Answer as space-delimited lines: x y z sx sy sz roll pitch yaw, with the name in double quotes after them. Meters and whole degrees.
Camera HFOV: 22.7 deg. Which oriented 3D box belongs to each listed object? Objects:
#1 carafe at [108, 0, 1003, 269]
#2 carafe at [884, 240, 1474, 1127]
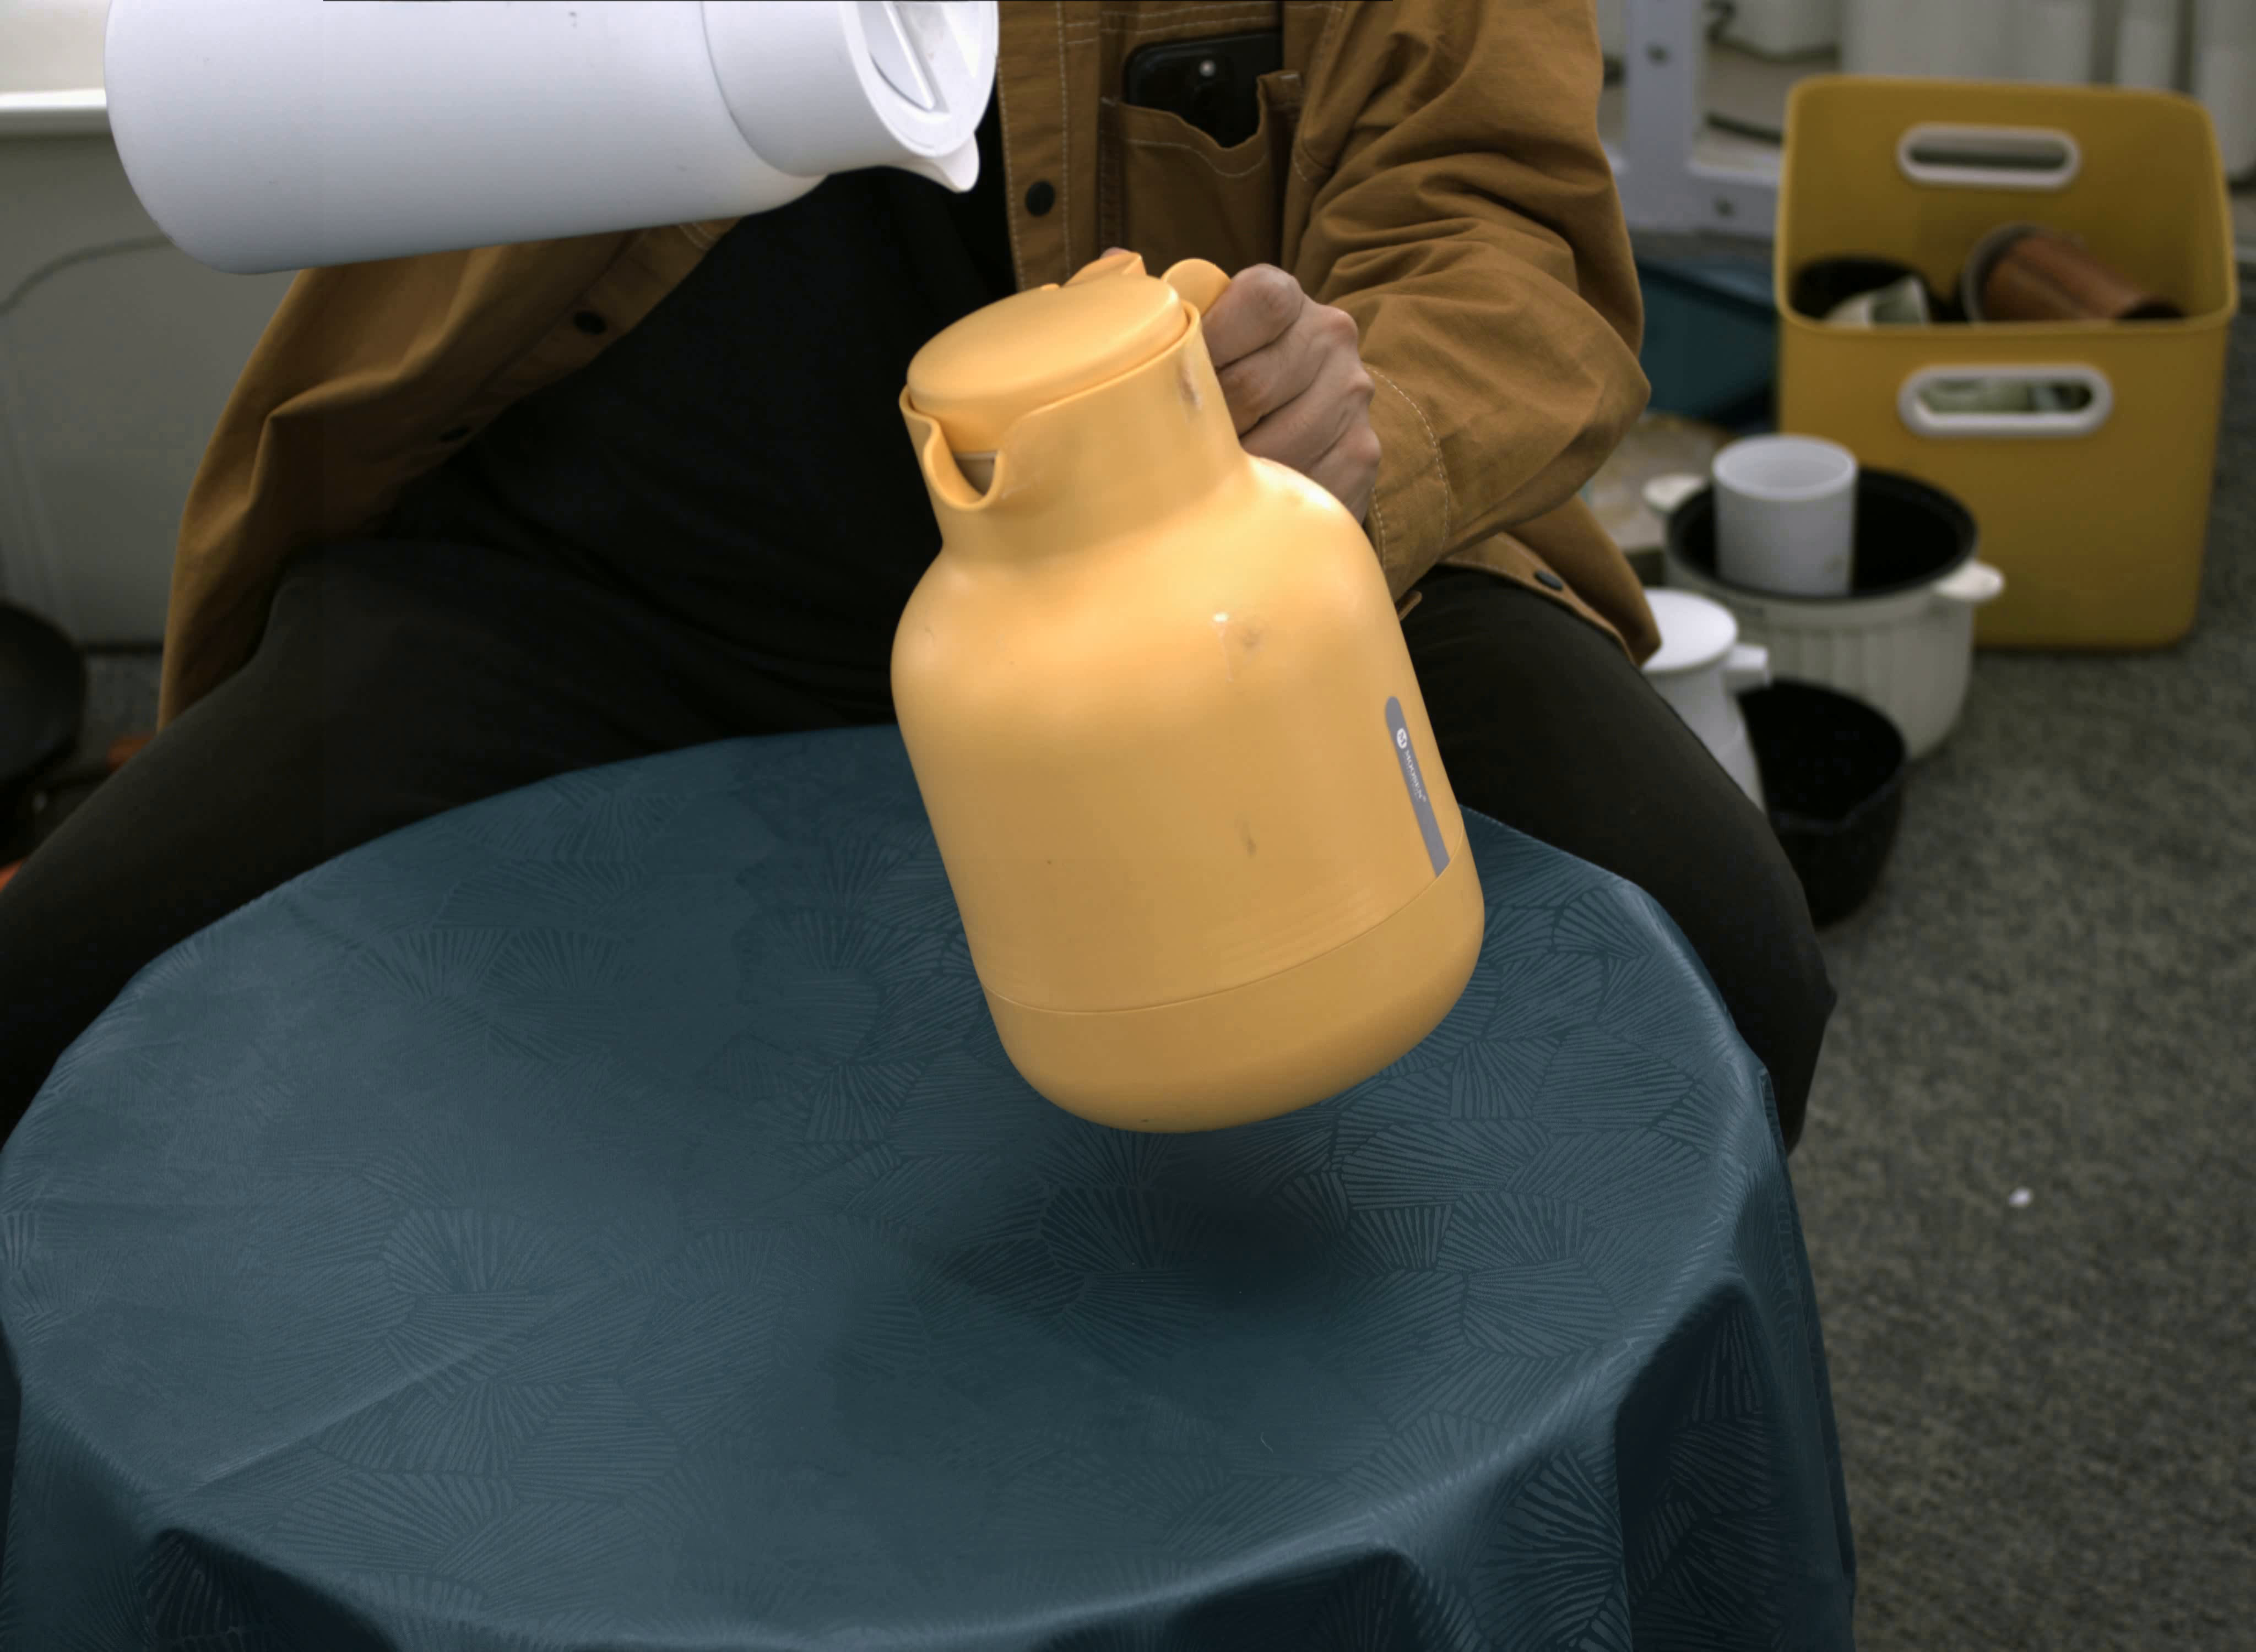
-0.184 -0.255 1.736 0.266 0.171 0.126 -3 40 29 "carafe"
0.015 -0.055 1.787 0.162 0.258 0.206 -3 26 28 "carafe"
